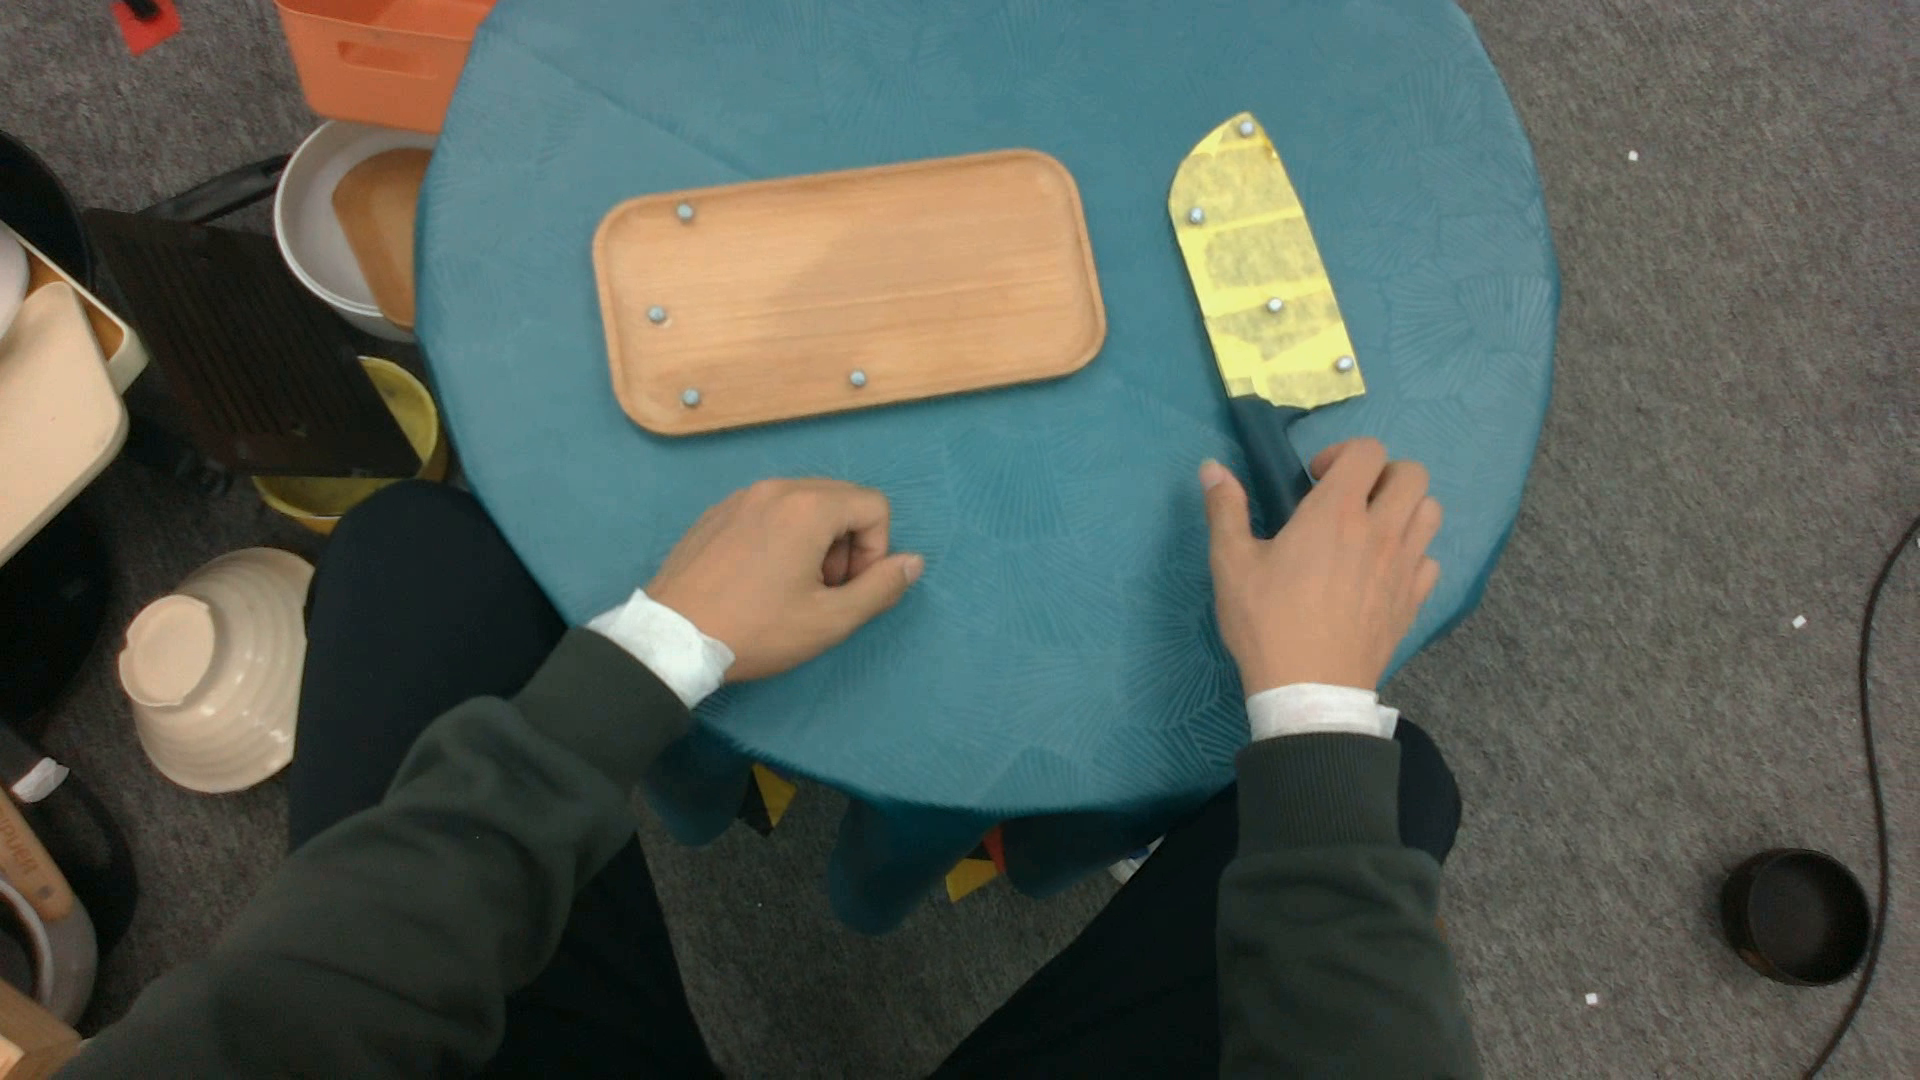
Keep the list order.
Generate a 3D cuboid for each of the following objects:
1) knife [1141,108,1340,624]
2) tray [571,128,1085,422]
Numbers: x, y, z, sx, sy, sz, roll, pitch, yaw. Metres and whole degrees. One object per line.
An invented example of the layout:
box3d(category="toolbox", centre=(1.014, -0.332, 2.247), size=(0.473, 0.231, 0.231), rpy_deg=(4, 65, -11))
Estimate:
box3d(category="knife", centre=(0.158, -0.099, 0.723), size=(0.081, 0.027, 0.290), rpy_deg=(-11, 78, -8))
box3d(category="tray", centre=(-0.065, -0.137, 0.703), size=(0.251, 0.023, 0.130), rpy_deg=(-10, 81, -10))
